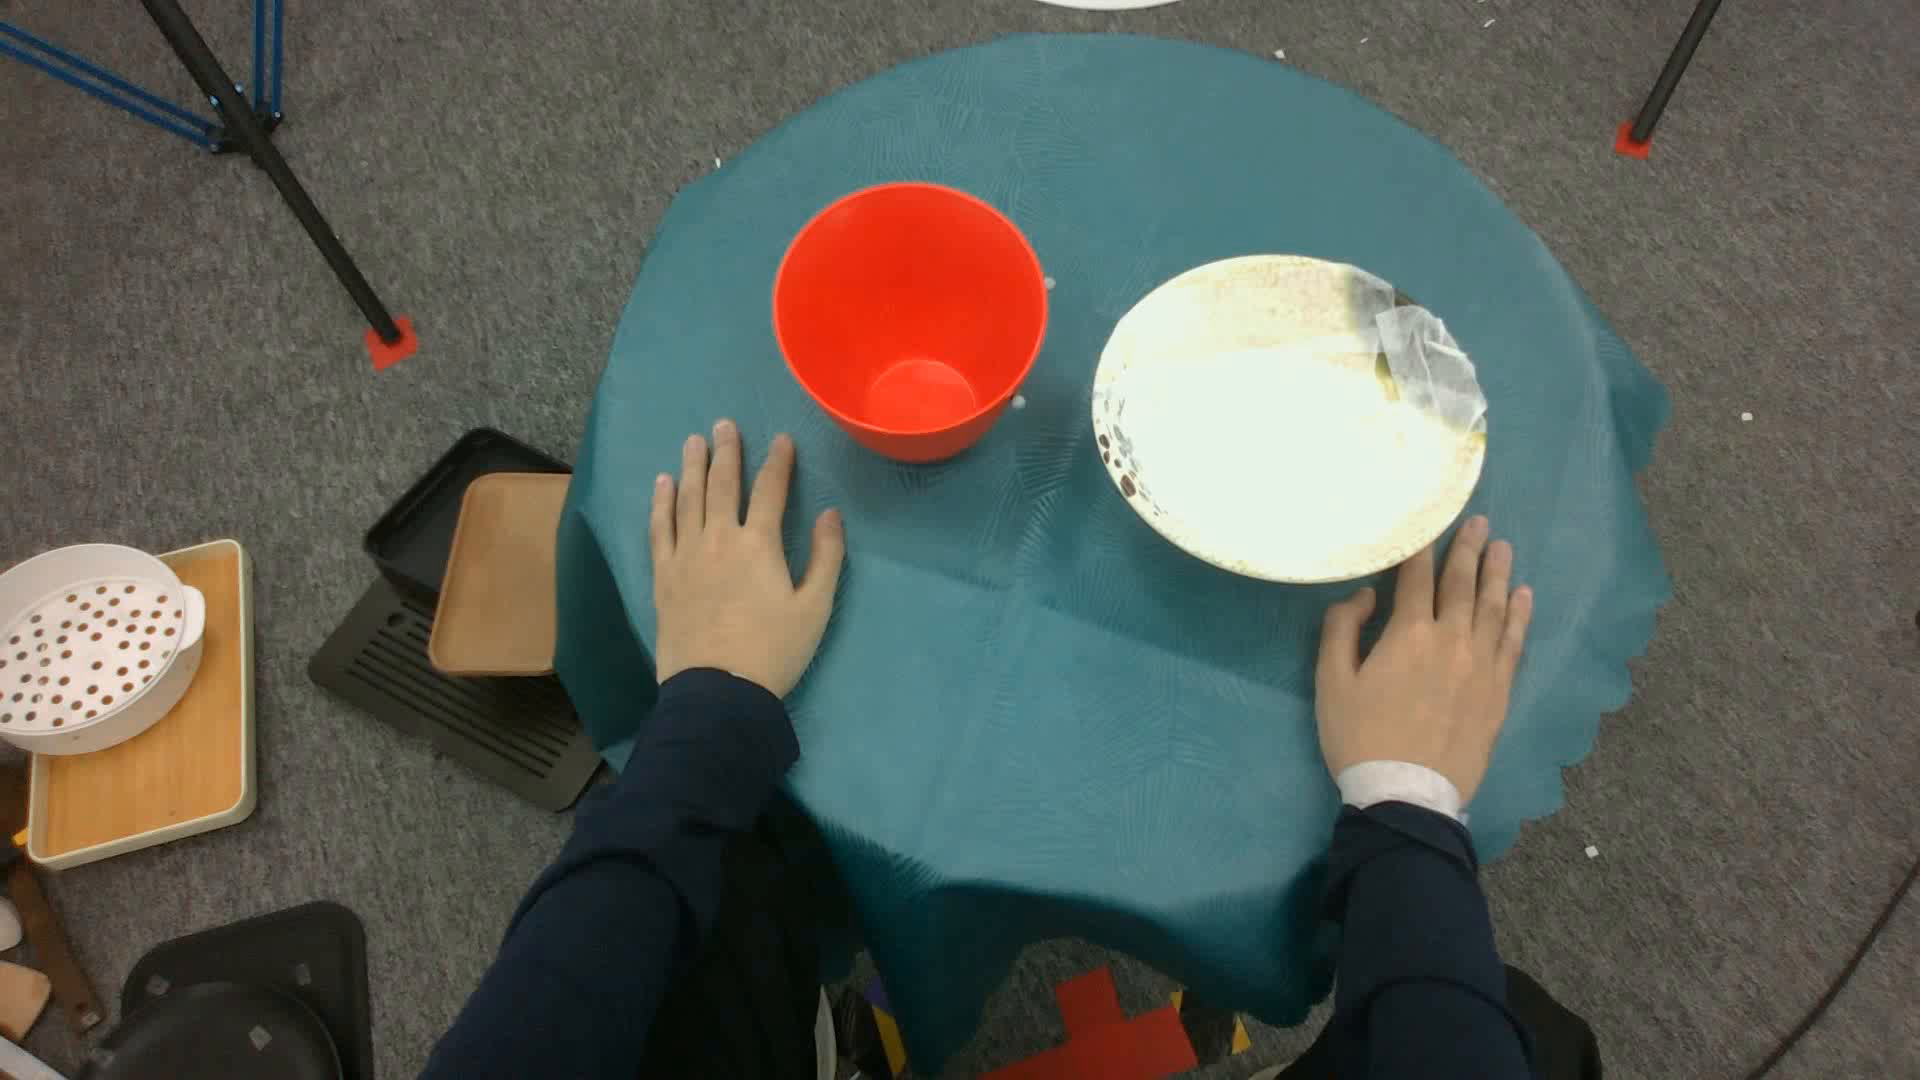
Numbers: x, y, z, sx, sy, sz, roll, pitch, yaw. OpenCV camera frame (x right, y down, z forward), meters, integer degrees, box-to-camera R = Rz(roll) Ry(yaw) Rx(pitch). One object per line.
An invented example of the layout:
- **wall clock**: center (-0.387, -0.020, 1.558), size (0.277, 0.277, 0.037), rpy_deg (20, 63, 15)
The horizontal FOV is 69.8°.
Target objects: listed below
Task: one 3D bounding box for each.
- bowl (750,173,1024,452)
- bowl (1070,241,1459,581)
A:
- **bowl**: center (-0.039, -0.115, 0.776), size (0.148, 0.104, 0.148), rpy_deg (0, 64, 0)
- **bowl**: center (0.163, -0.061, 0.765), size (0.204, 0.077, 0.204), rpy_deg (-1, 68, 3)
